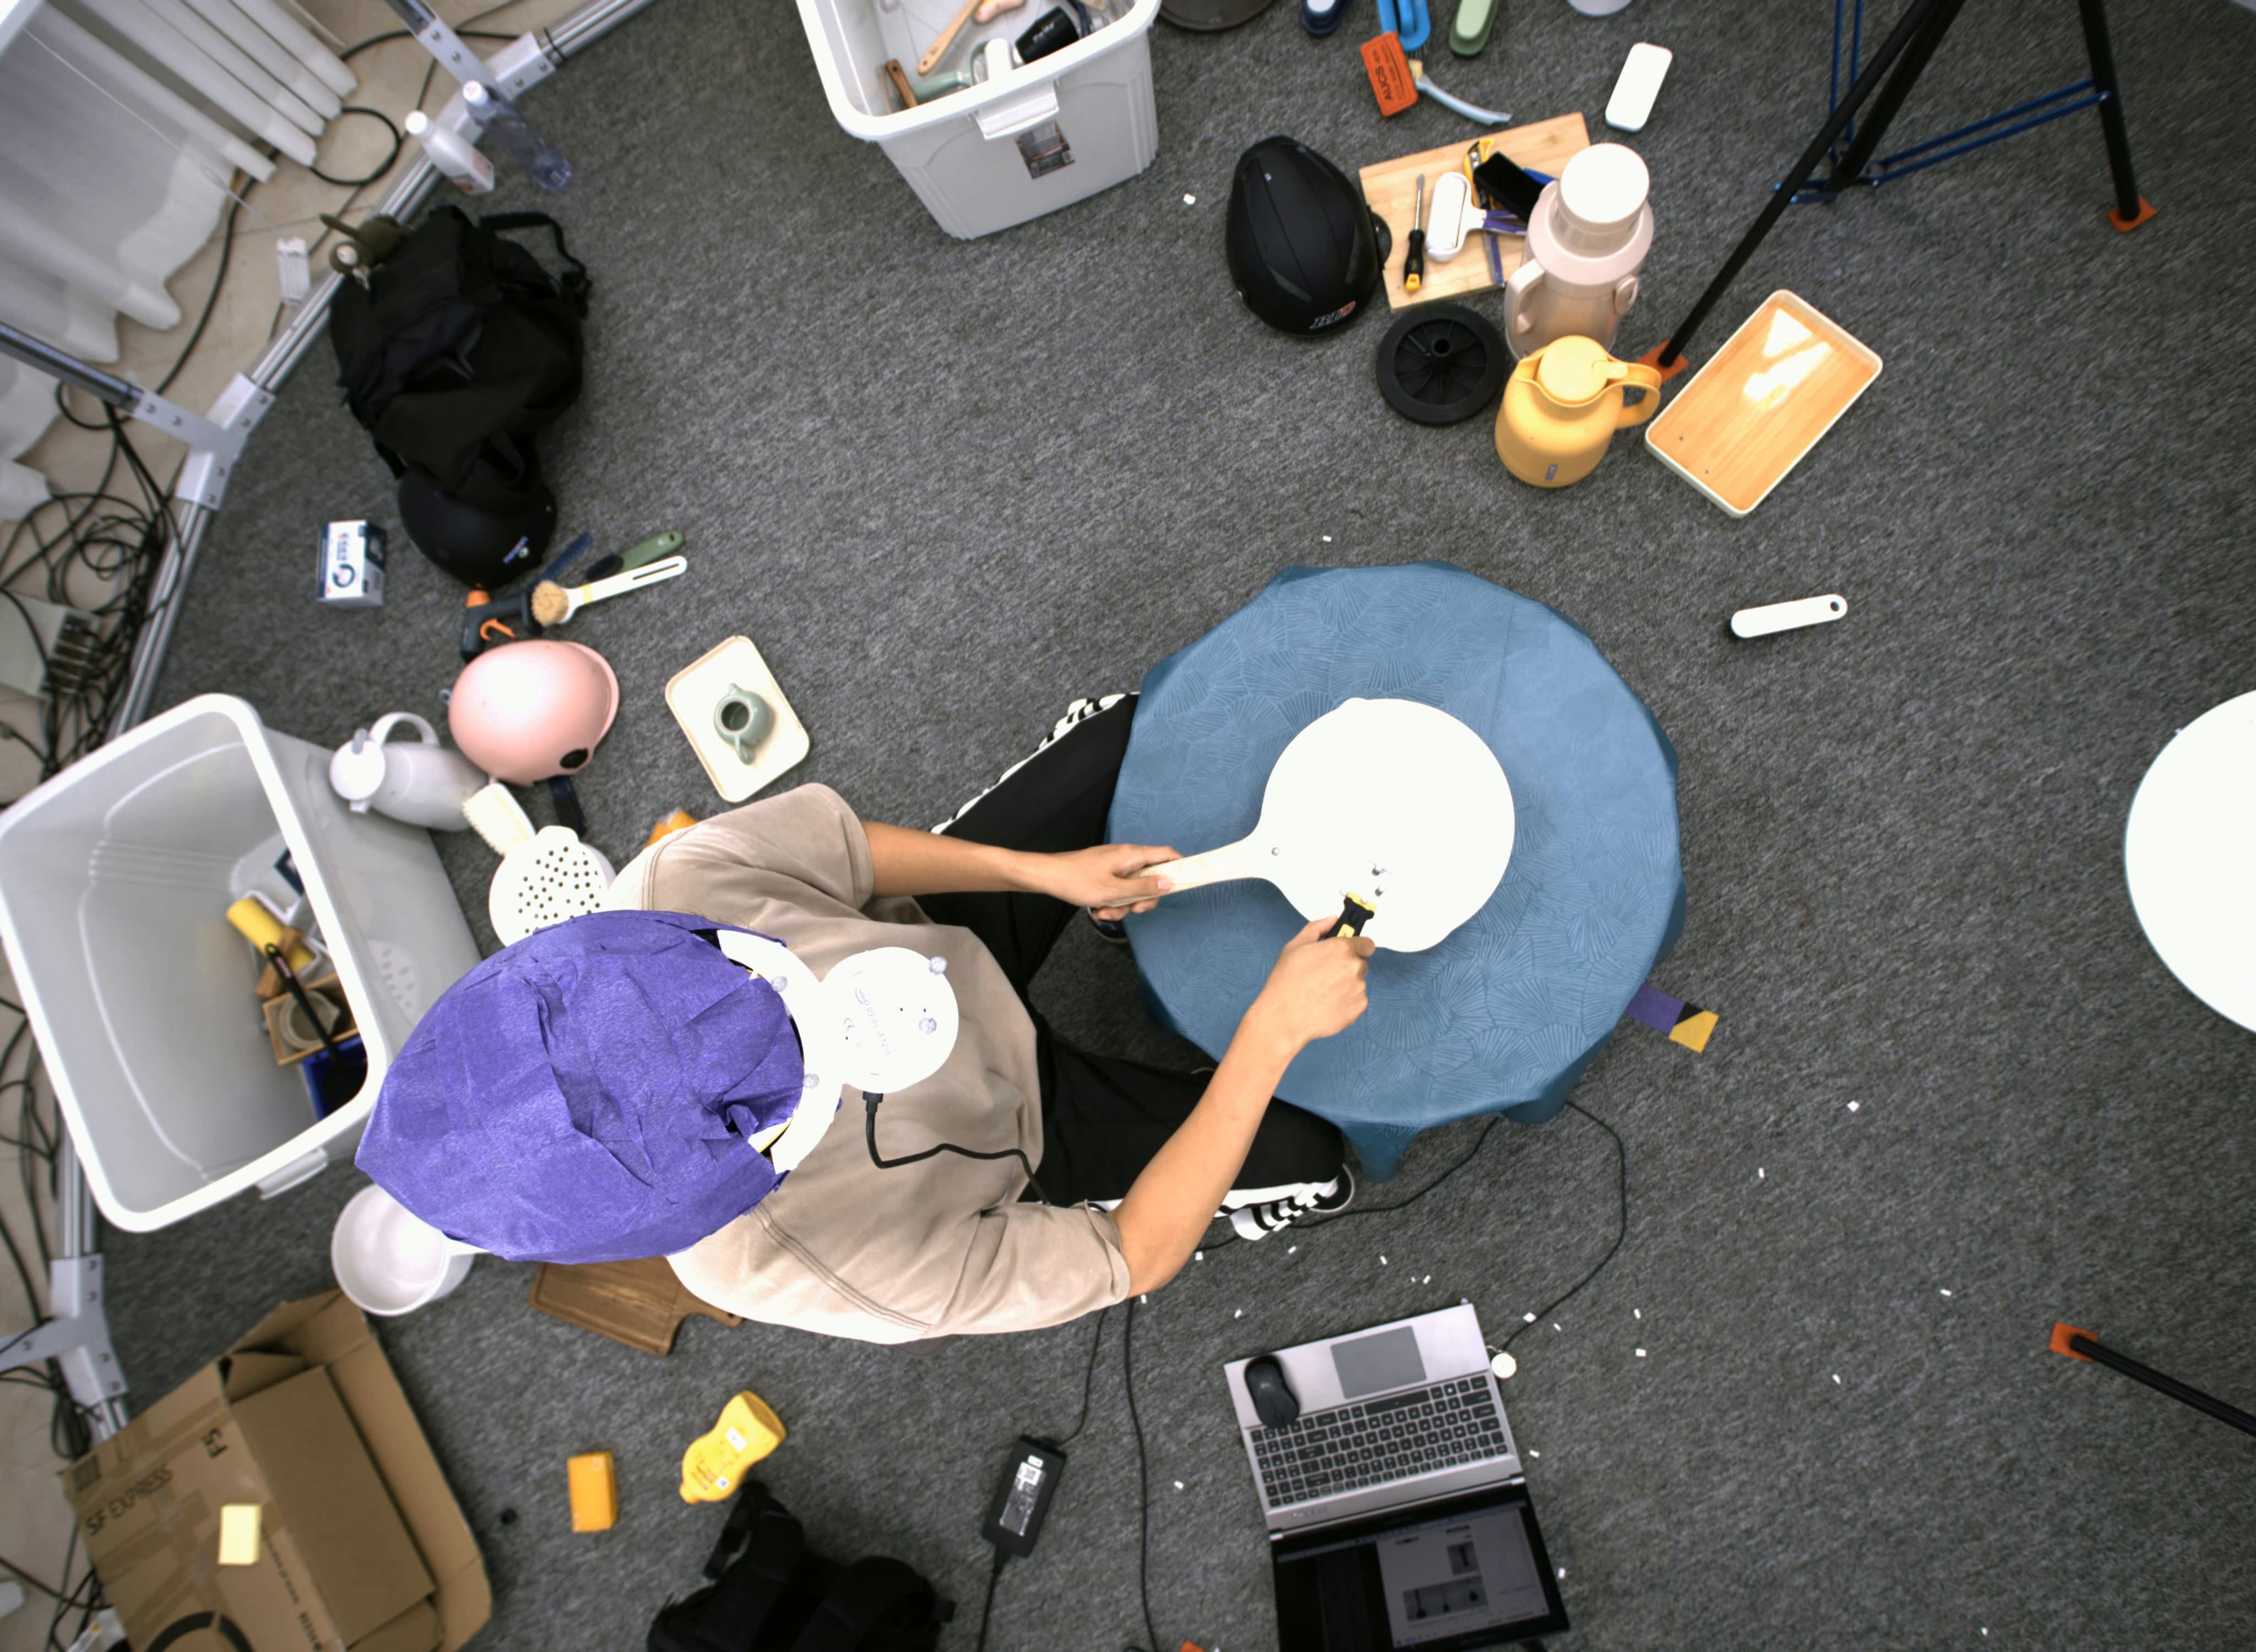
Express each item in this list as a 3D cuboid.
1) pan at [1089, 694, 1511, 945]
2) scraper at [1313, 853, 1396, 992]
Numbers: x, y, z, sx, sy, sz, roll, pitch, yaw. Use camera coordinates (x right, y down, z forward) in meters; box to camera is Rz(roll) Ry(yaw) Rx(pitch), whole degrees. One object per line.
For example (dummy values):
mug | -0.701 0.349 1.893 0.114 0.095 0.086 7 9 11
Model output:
pan | 0.175 0.018 1.434 0.437 0.102 0.262 -16 86 9
scraper | 0.214 0.090 1.308 0.039 0.015 0.166 35 53 -2
